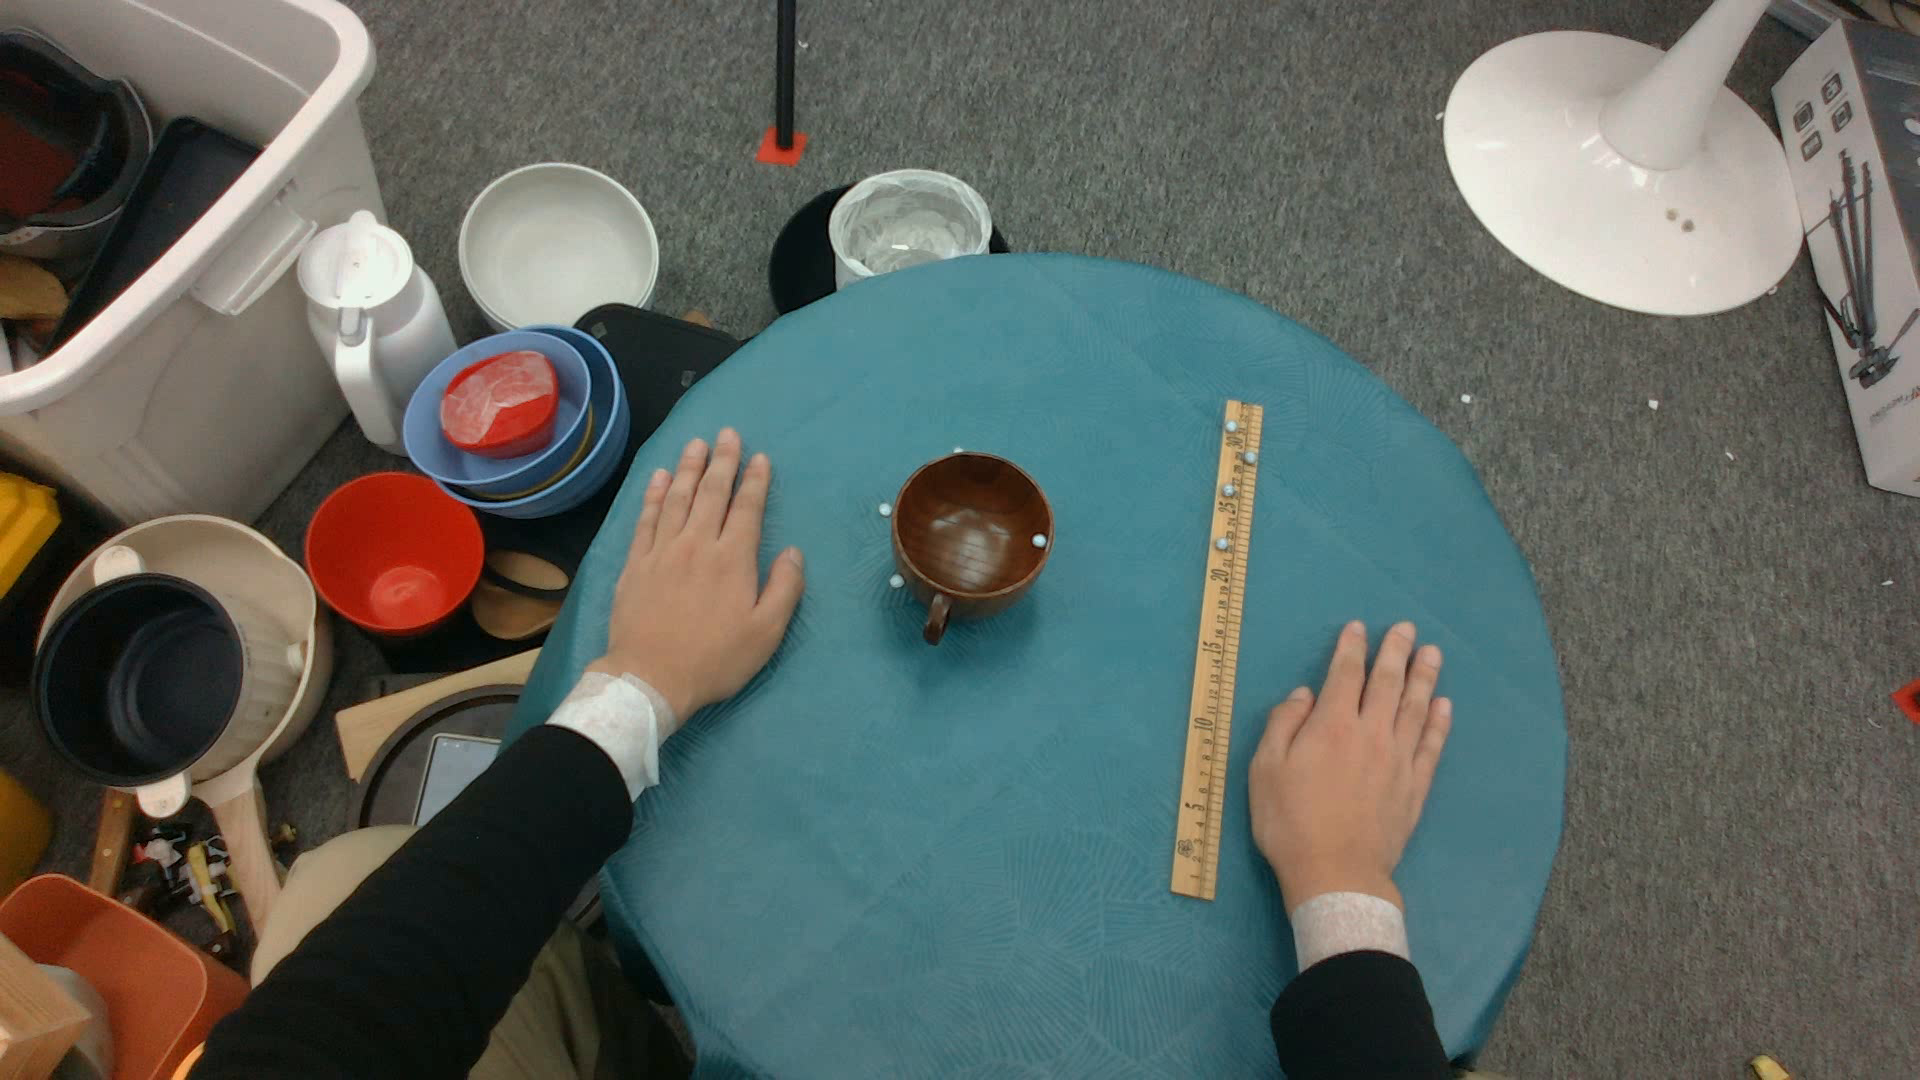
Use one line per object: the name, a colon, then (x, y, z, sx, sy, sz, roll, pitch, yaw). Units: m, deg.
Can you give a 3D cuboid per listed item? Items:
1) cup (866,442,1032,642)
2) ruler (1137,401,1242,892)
cup: (-0.013, 0.009, 0.810, 0.096, 0.067, 0.120, 19, 63, 1)
ruler: (0.144, 0.049, 0.841, 0.027, 0.022, 0.333, 11, 61, 4)
